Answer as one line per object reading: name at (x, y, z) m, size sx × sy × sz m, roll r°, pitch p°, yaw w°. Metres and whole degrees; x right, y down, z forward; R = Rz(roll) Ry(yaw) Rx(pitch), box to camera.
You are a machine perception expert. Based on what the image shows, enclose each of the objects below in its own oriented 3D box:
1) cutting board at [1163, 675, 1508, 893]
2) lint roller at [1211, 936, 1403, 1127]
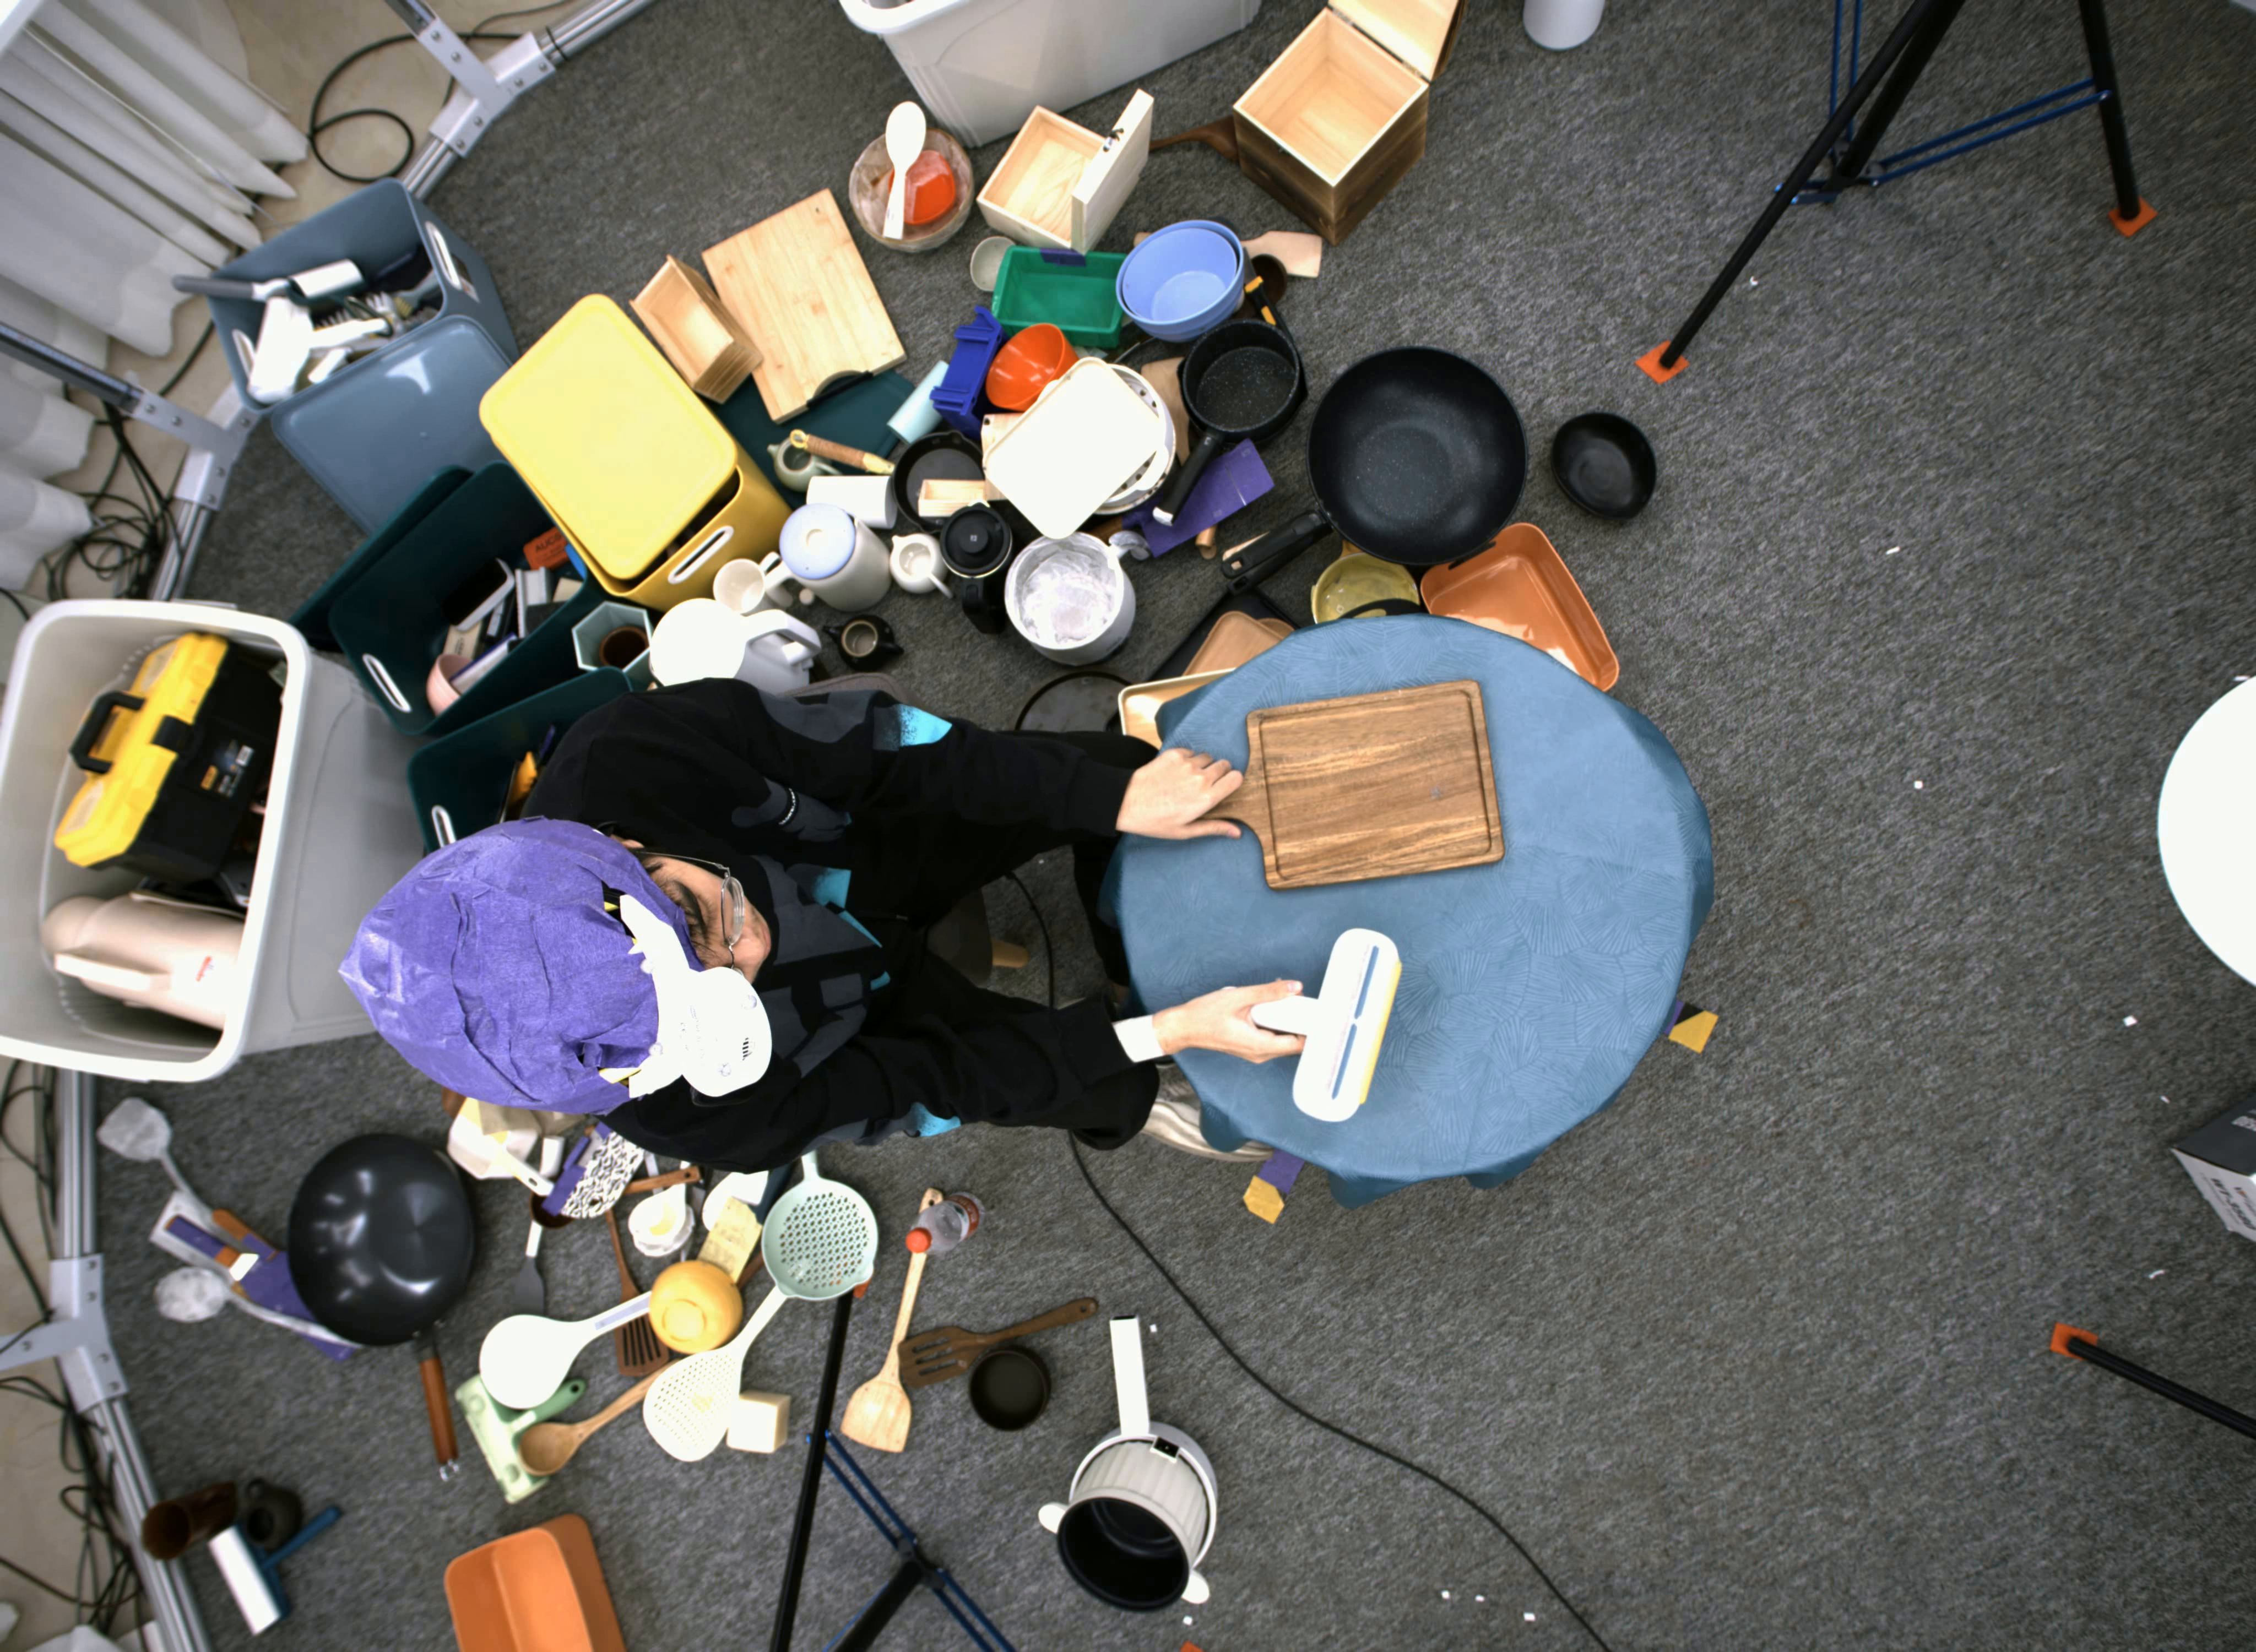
cutting board at (0.211, -0.038, 1.462) m, size 0.354 × 0.023 × 0.200 m, roll -8°, pitch 86°, yaw 10°
lint roller at (0.165, 0.190, 1.390) m, size 0.193 × 0.075 × 0.191 m, roll 14°, pitch 78°, yaw 26°
